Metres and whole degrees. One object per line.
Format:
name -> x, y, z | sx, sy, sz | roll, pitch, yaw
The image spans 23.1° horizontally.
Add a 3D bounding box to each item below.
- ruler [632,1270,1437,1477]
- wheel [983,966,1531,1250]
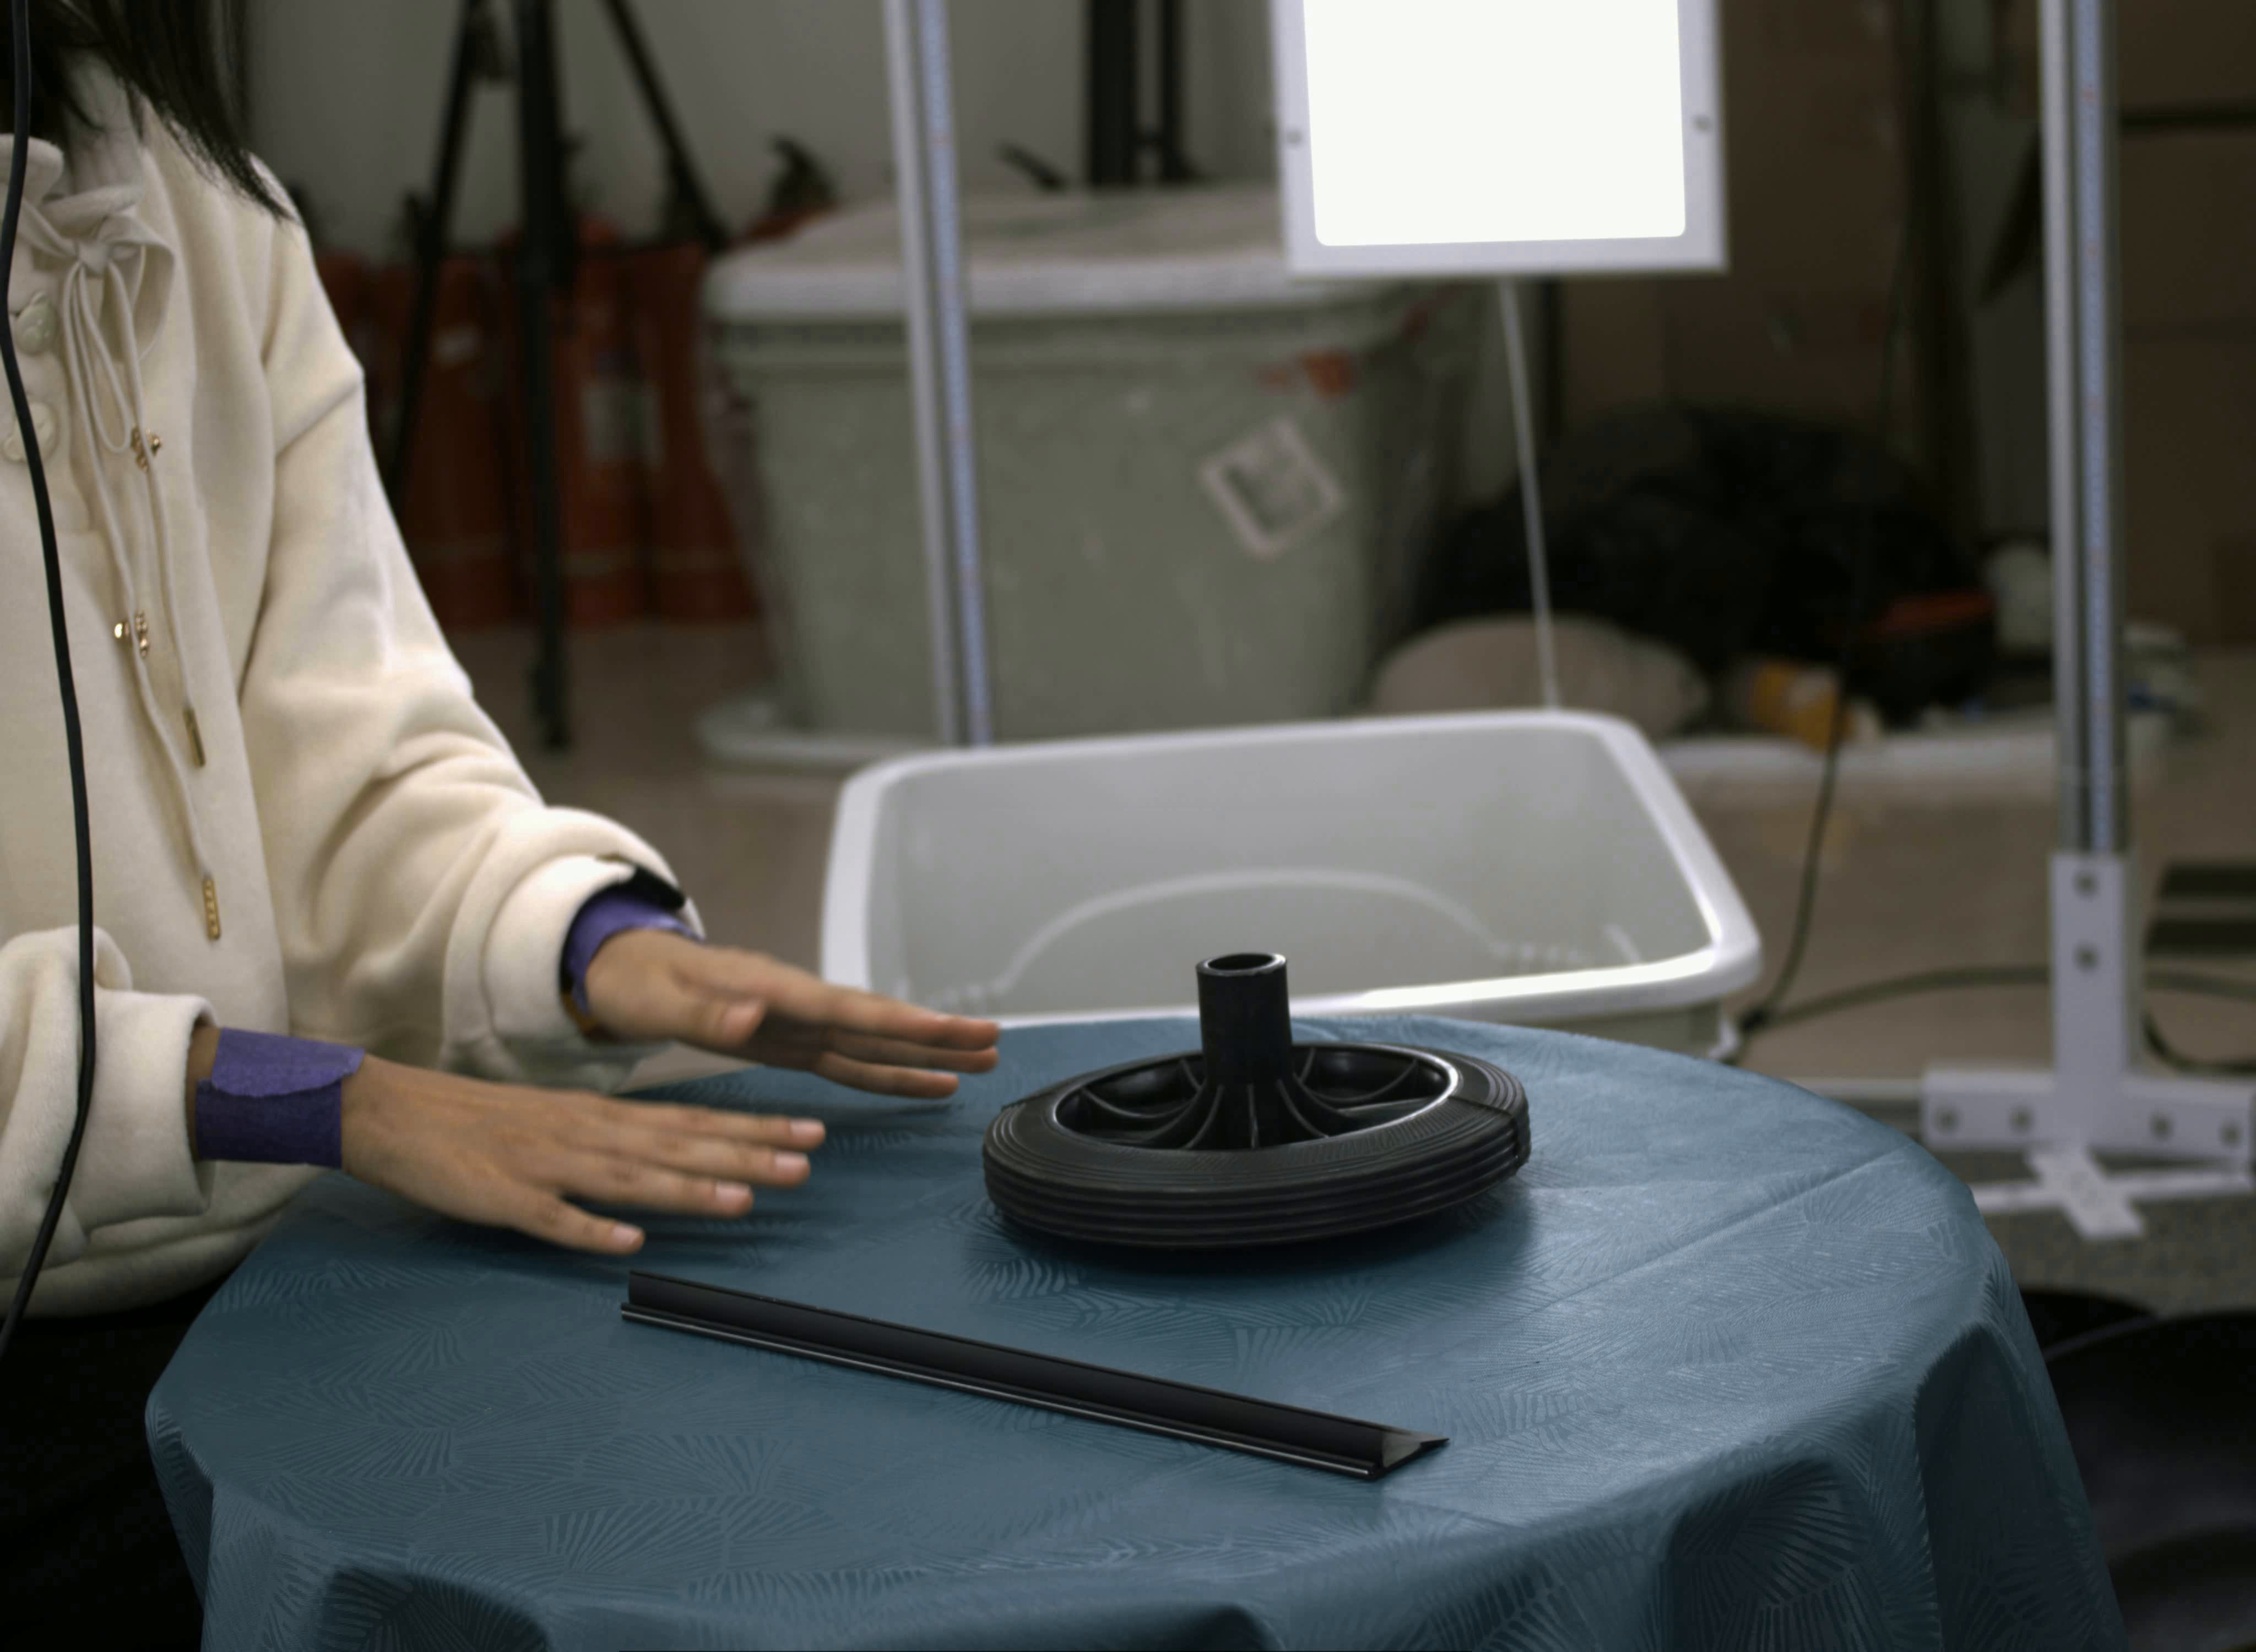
ruler -> -0.035, 0.165, 1.721 | 0.319, 0.017, 0.038 | 7, 14, 42
wheel -> 0.043, 0.089, 1.875 | 0.185, 0.079, 0.191 | -12, 13, -29
